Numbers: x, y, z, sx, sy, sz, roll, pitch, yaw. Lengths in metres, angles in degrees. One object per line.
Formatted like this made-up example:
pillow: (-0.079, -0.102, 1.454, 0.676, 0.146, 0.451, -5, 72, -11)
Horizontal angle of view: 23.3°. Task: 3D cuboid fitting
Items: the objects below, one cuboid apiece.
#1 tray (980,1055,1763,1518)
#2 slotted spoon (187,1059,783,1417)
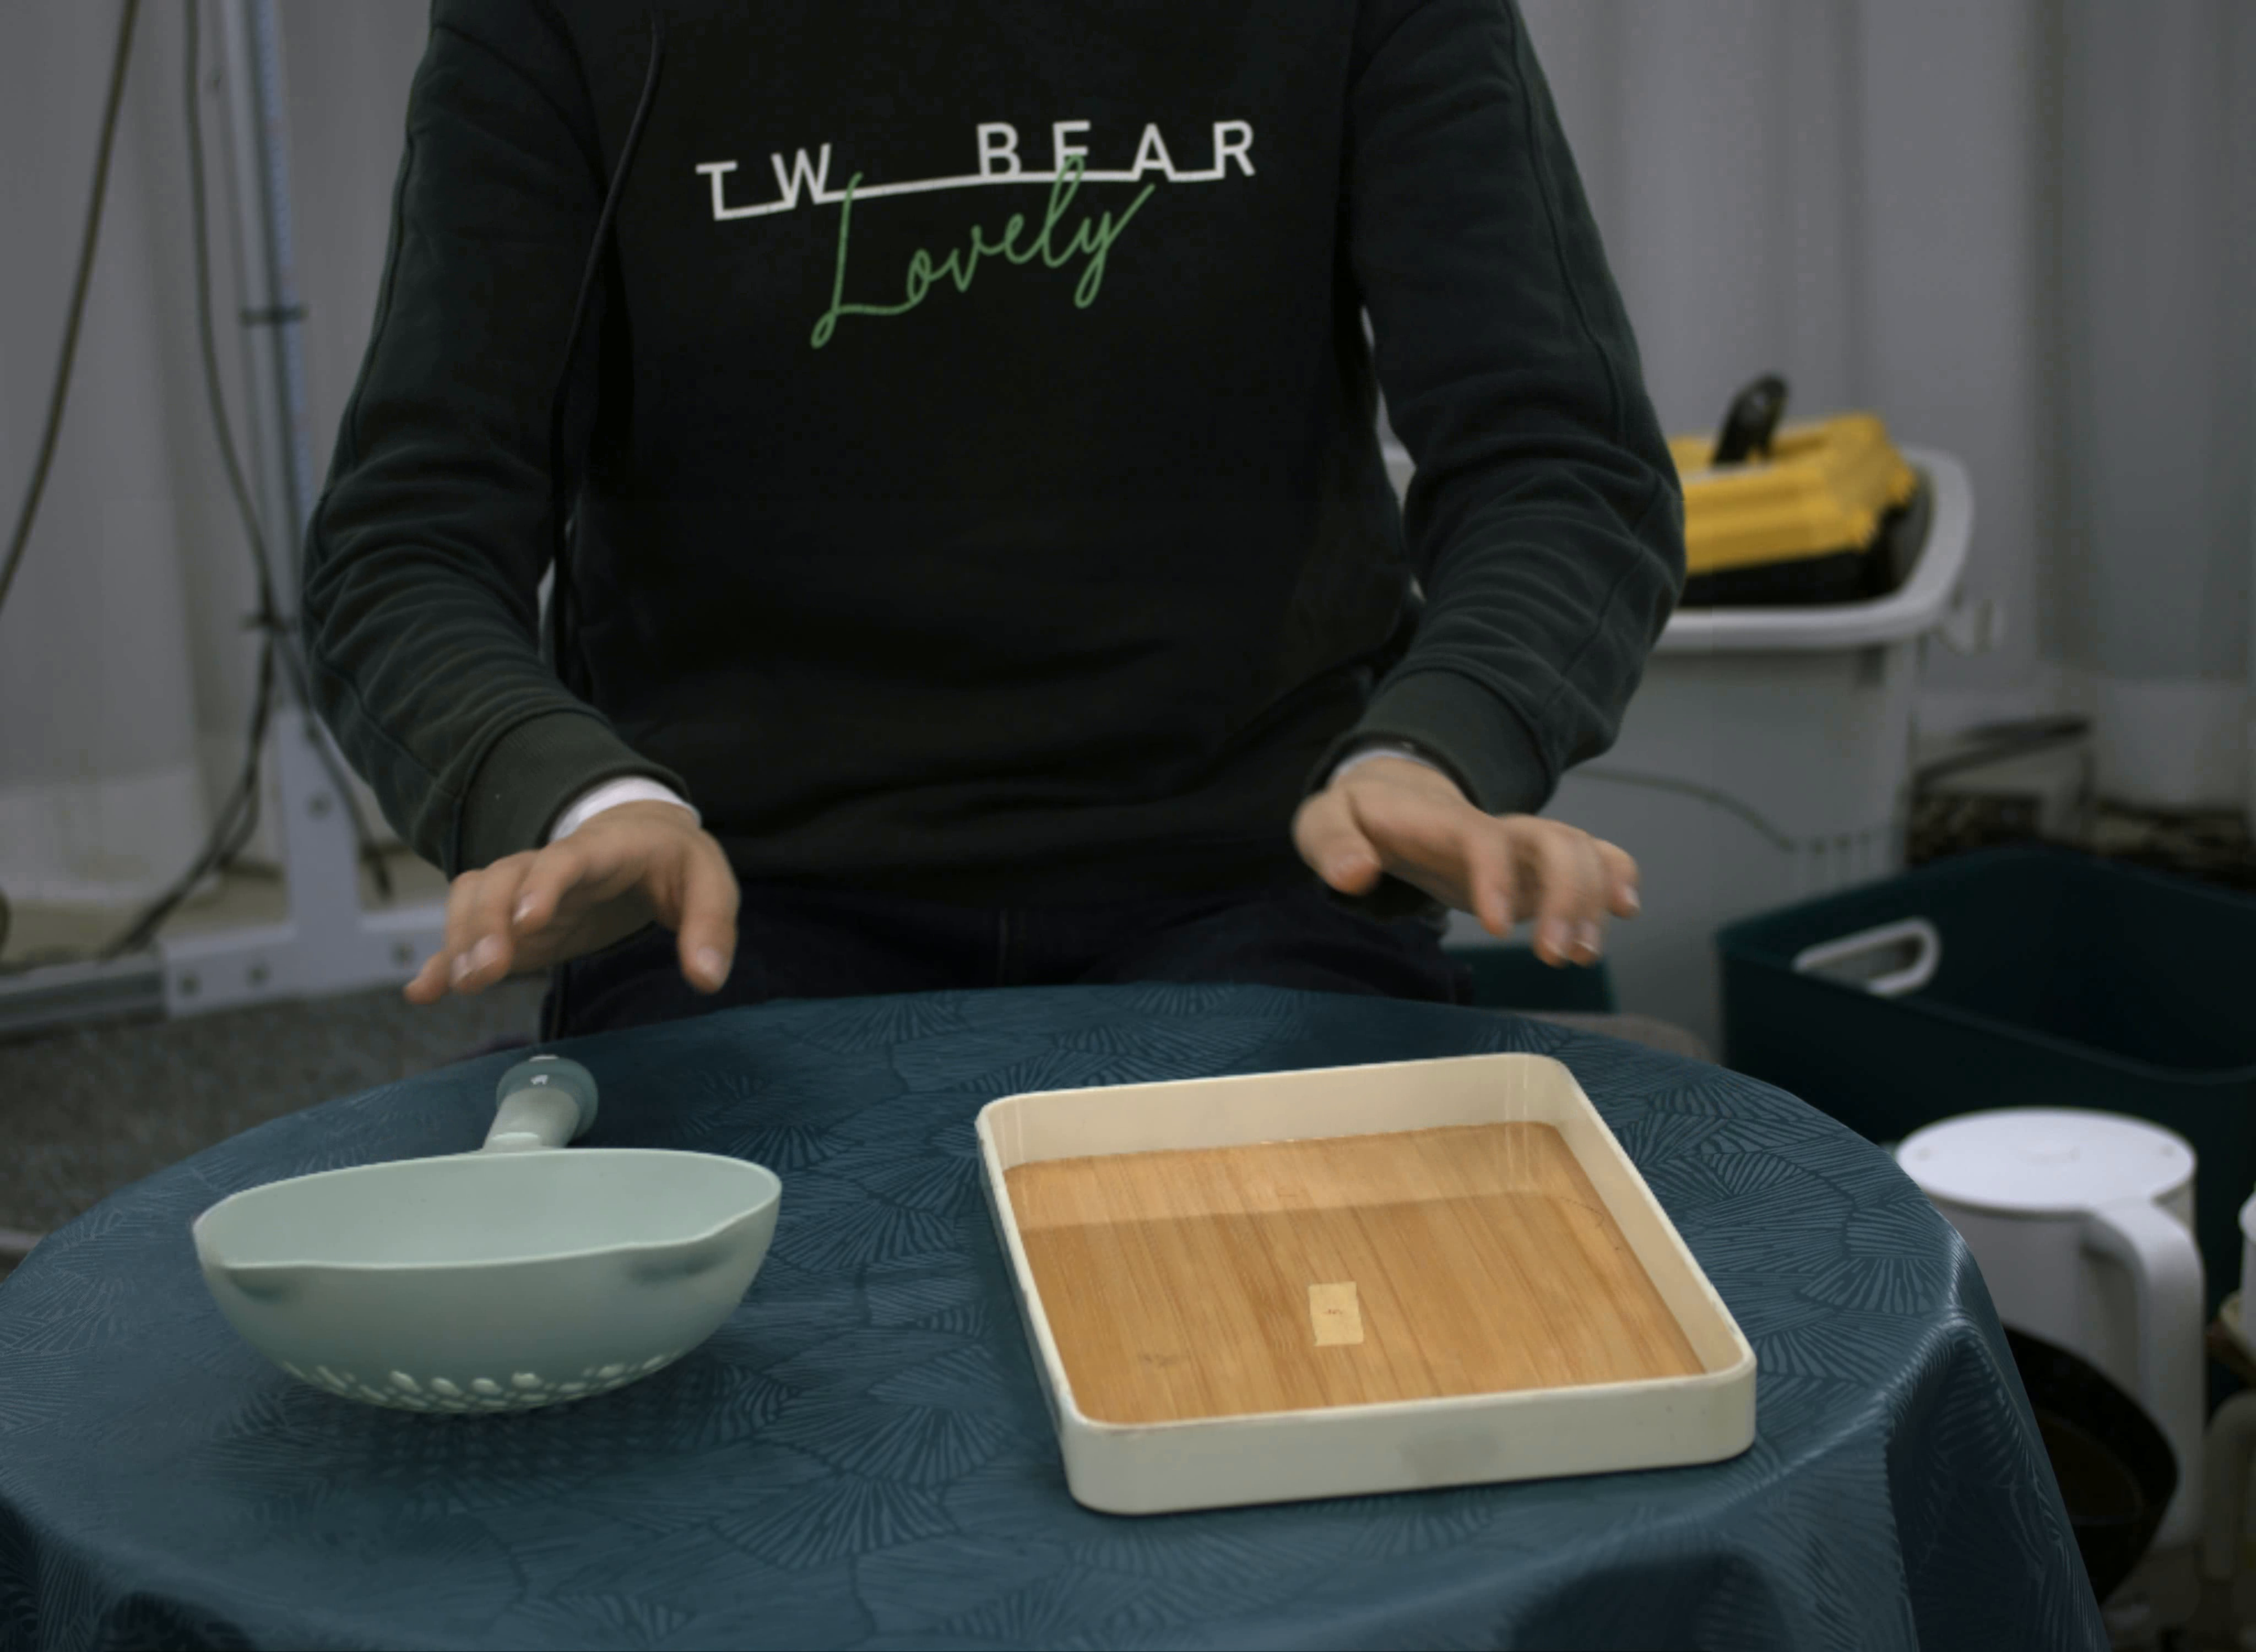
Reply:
tray: (0.063, 0.129, 1.598, 0.191, 0.027, 0.302, -4, 15, -5)
slotted spoon: (-0.184, 0.108, 1.651, 0.169, 0.075, 0.361, -2, 15, -1)
